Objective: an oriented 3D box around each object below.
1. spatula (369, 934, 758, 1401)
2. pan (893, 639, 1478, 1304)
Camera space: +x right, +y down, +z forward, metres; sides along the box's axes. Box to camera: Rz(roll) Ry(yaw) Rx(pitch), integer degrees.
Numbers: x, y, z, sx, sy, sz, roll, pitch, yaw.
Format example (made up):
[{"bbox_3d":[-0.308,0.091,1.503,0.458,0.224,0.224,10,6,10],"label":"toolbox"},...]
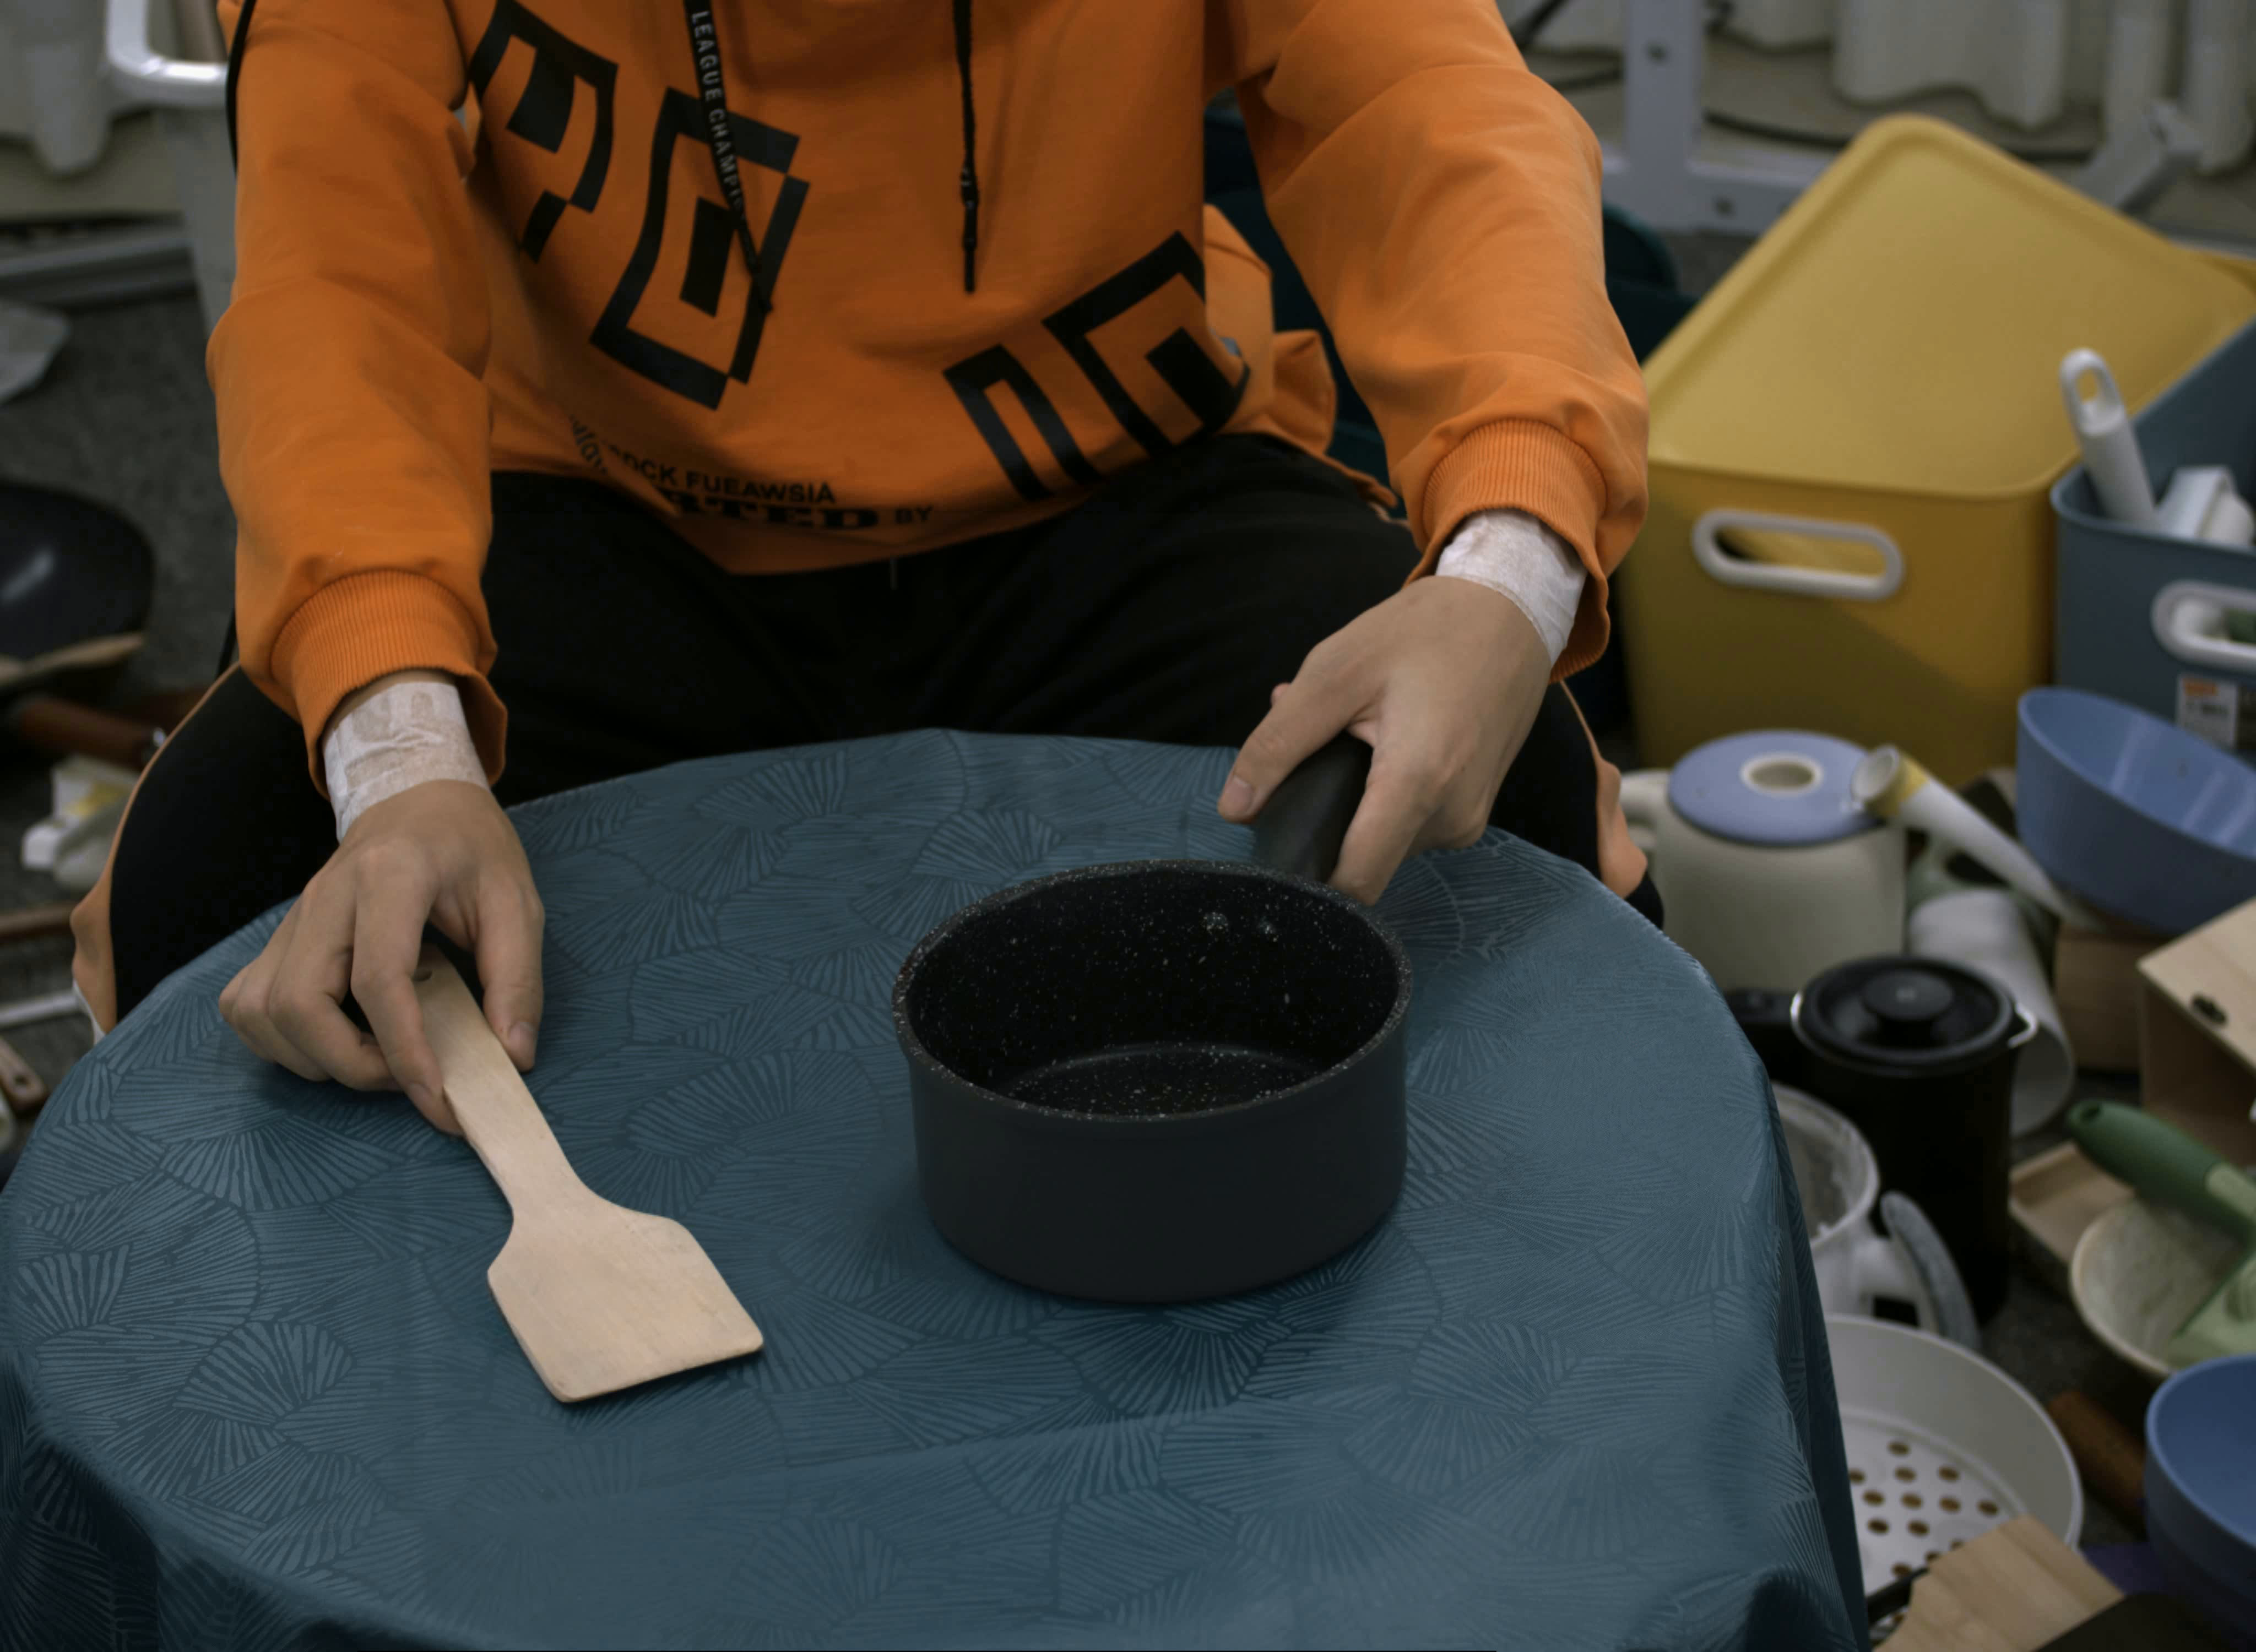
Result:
[{"bbox_3d":[-0.205,0.110,1.888,0.072,0.010,0.295,-15,32,-18],"label":"spatula"},{"bbox_3d":[0.043,0.045,1.914,0.171,0.085,0.334,10,32,23],"label":"pan"}]
